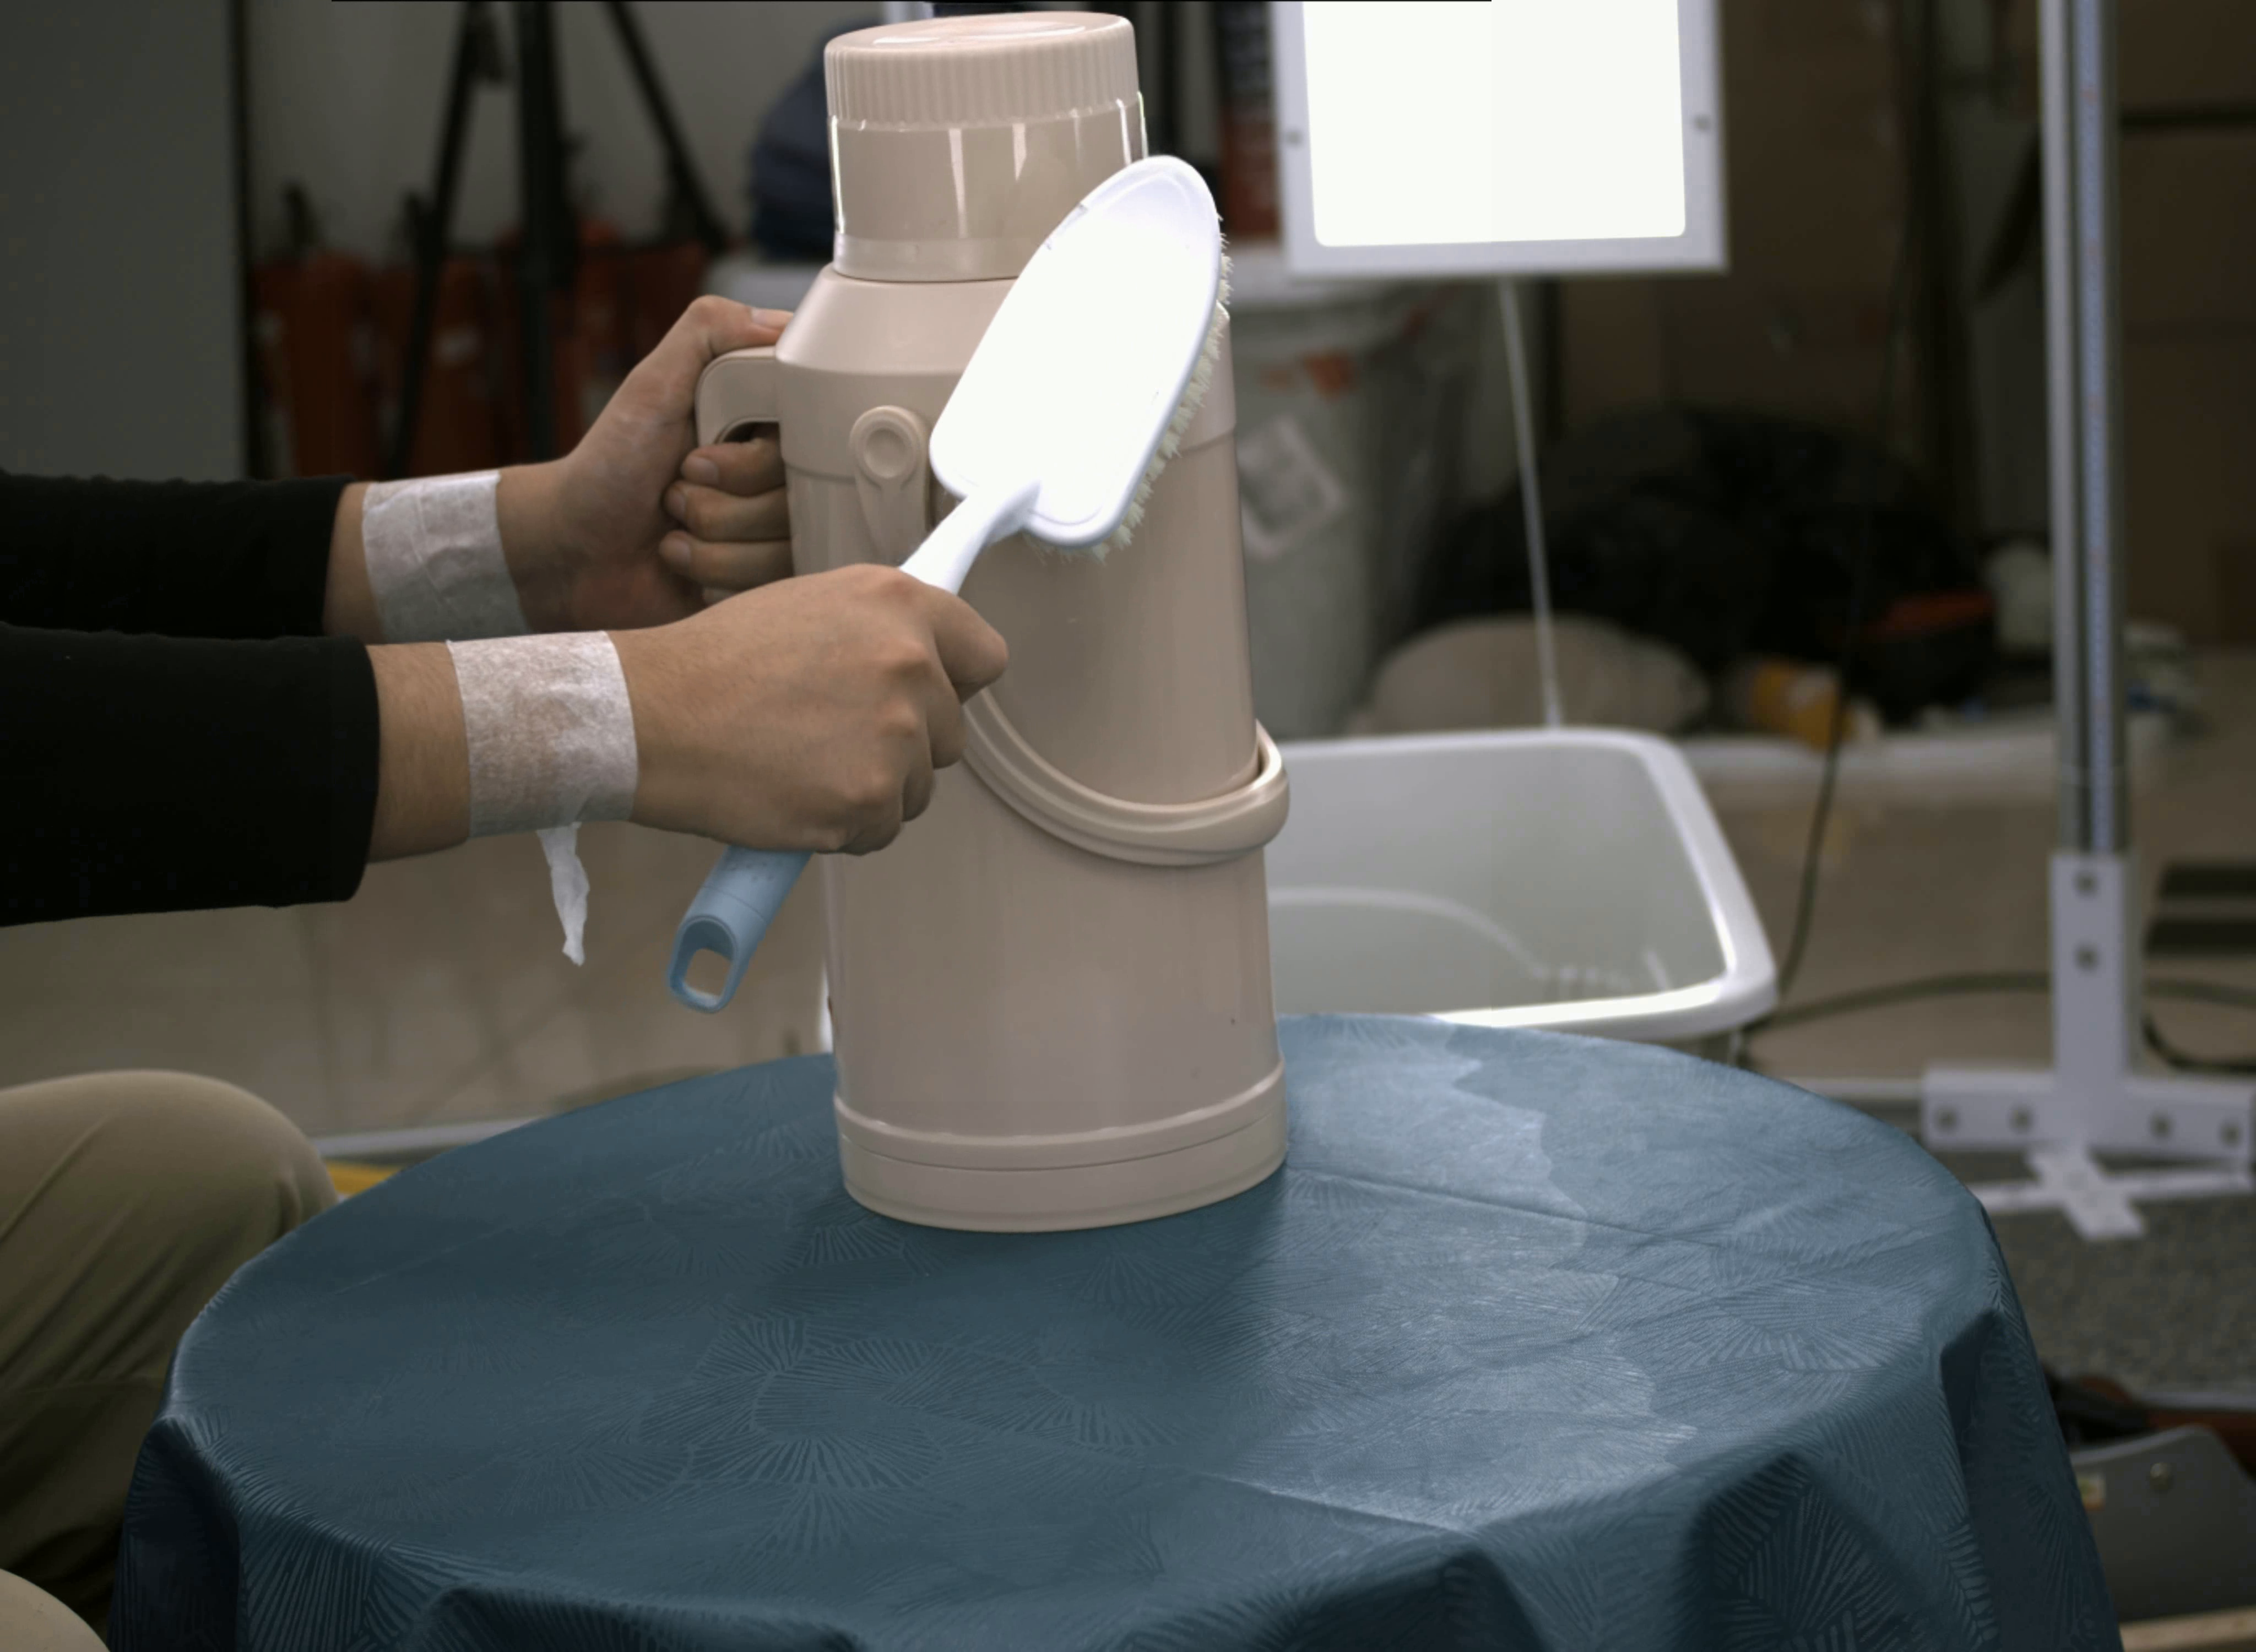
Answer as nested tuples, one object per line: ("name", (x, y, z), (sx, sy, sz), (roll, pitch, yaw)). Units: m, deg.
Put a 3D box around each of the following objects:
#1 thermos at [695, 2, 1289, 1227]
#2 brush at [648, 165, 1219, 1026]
("thermos", (-0.048, -0.075, 1.900), (0.210, 0.408, 0.171), (3, 17, 26))
("brush", (-0.063, -0.068, 1.738), (0.085, 0.083, 0.323), (11, 66, 48))
